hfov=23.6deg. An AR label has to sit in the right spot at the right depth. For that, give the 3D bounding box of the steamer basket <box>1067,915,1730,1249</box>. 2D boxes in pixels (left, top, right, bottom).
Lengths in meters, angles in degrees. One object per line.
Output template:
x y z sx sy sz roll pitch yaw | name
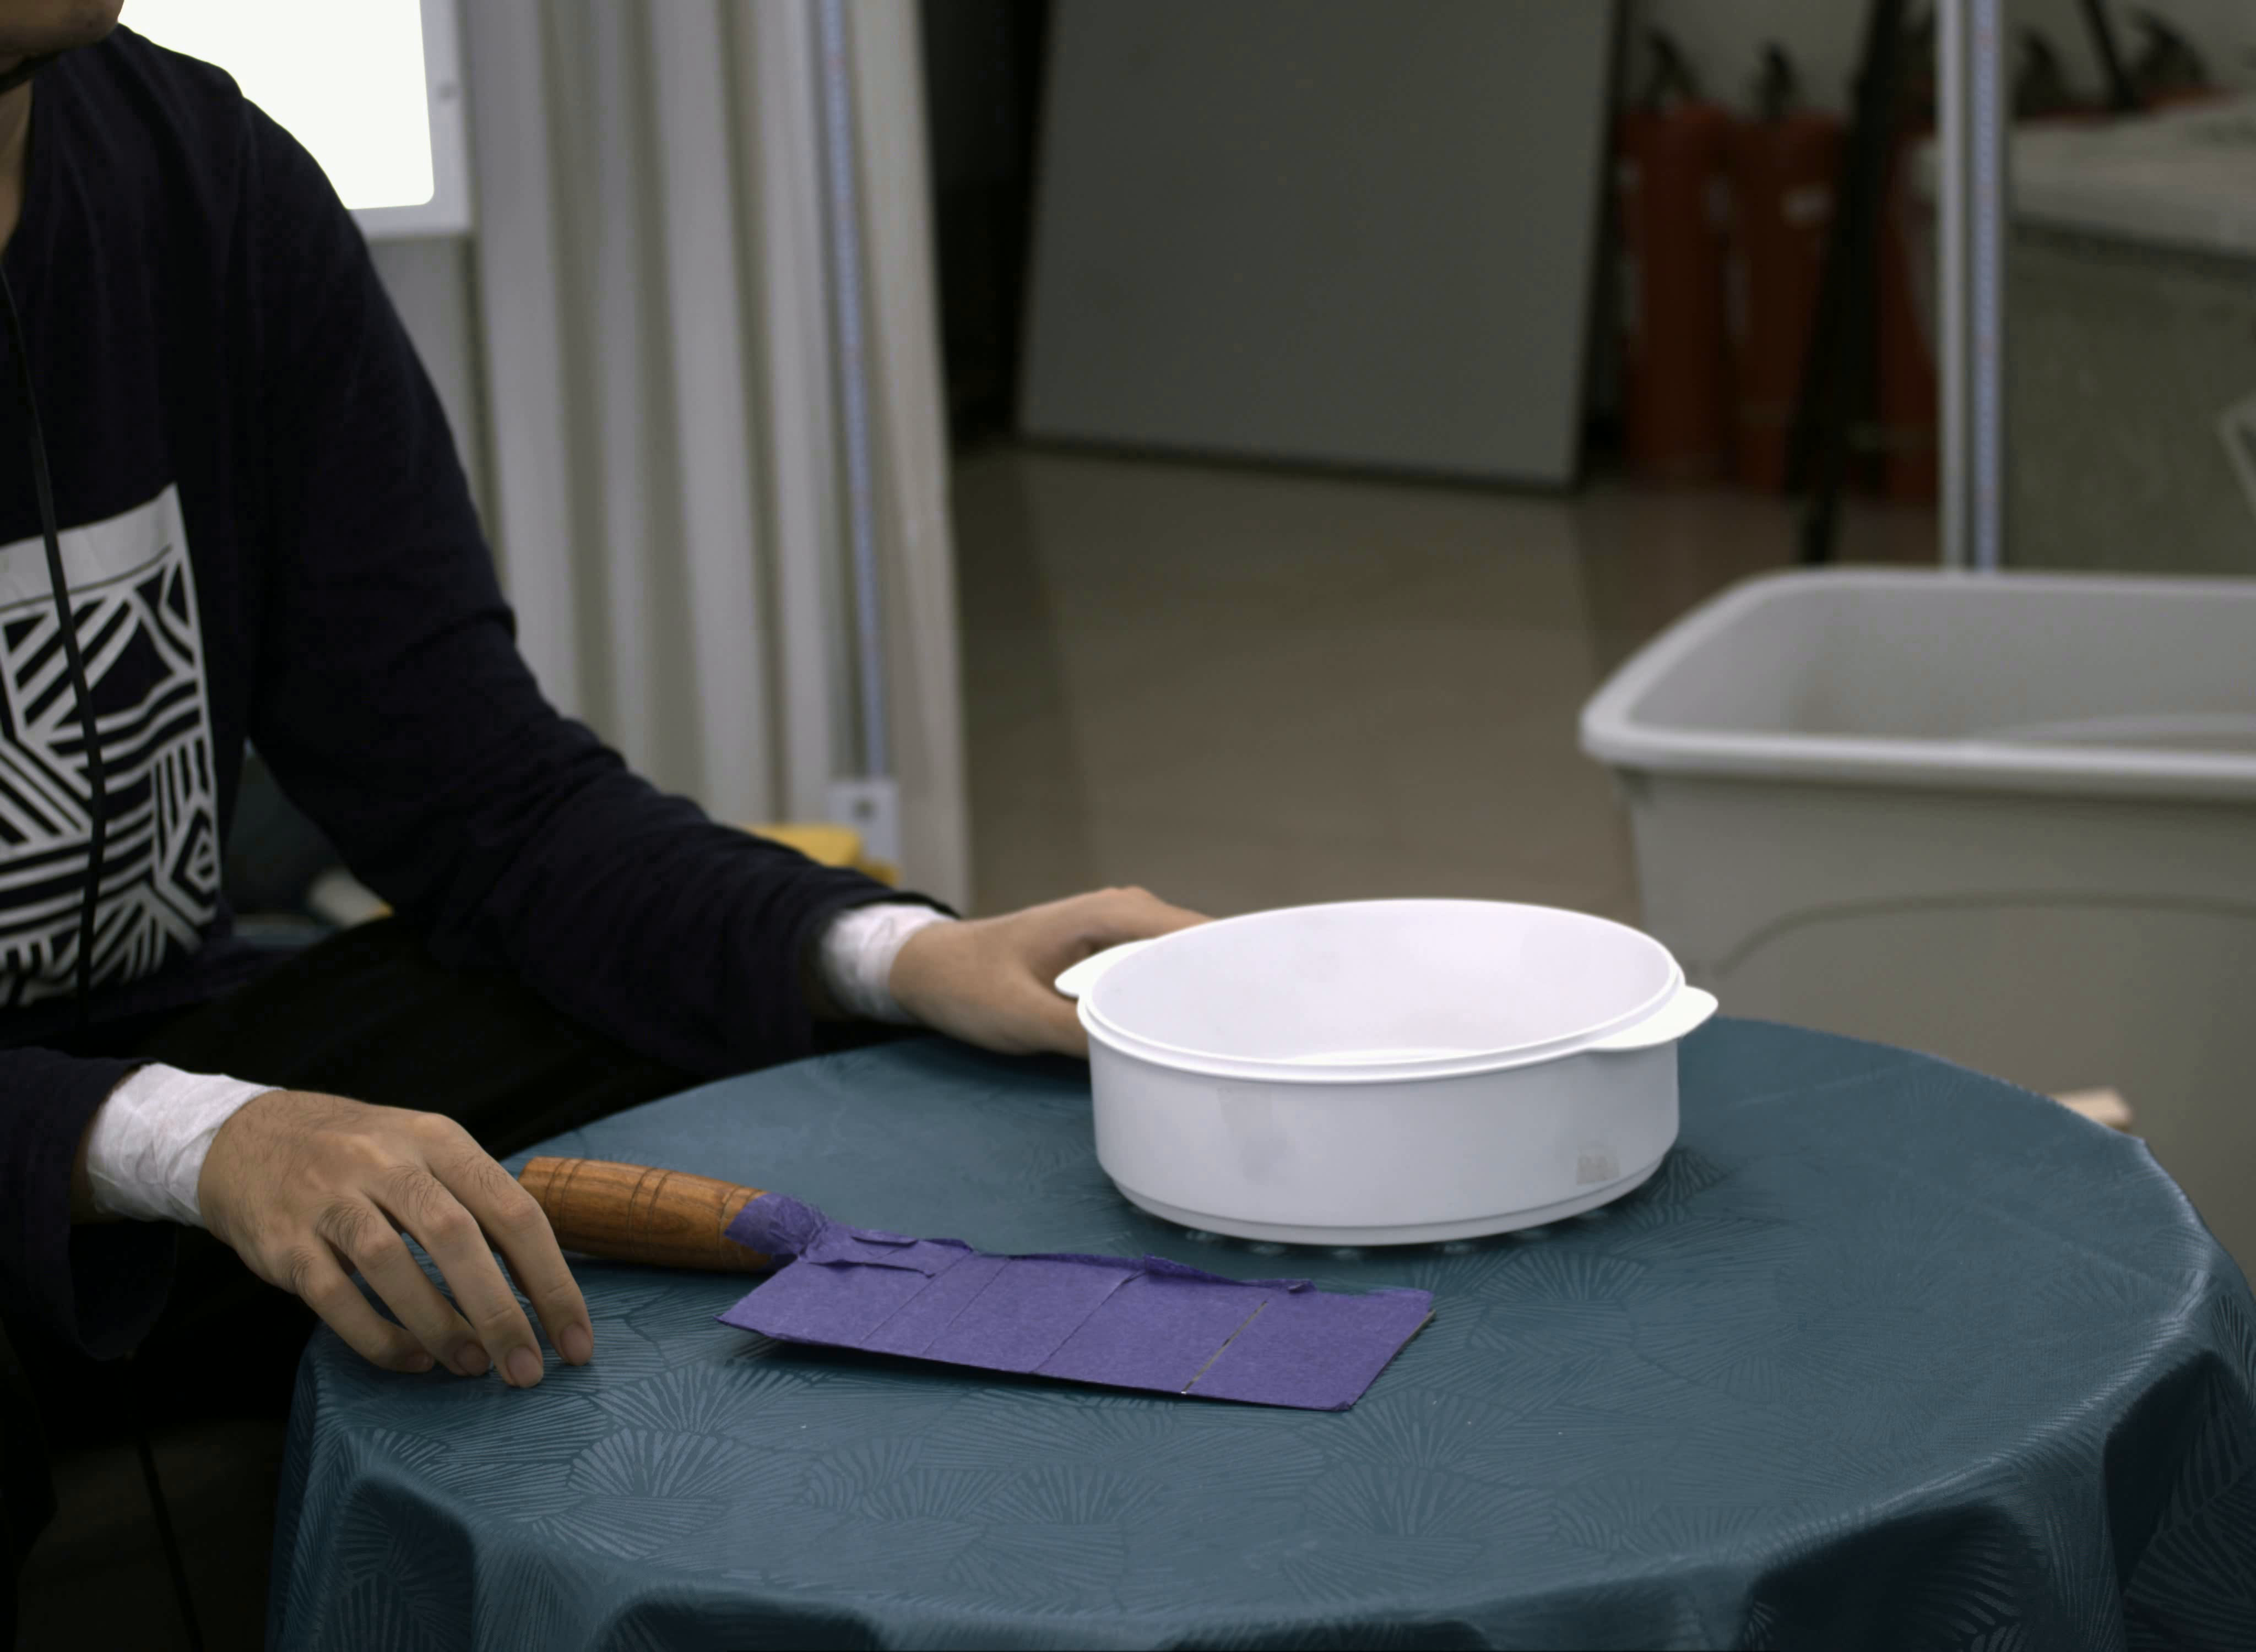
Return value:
0.089 0.084 1.766 0.231 0.070 0.198 1 13 32 | steamer basket

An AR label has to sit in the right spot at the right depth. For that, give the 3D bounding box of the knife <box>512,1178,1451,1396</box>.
-0.061 0.141 1.655 0.315 0.032 0.102 2 15 24 | knife
